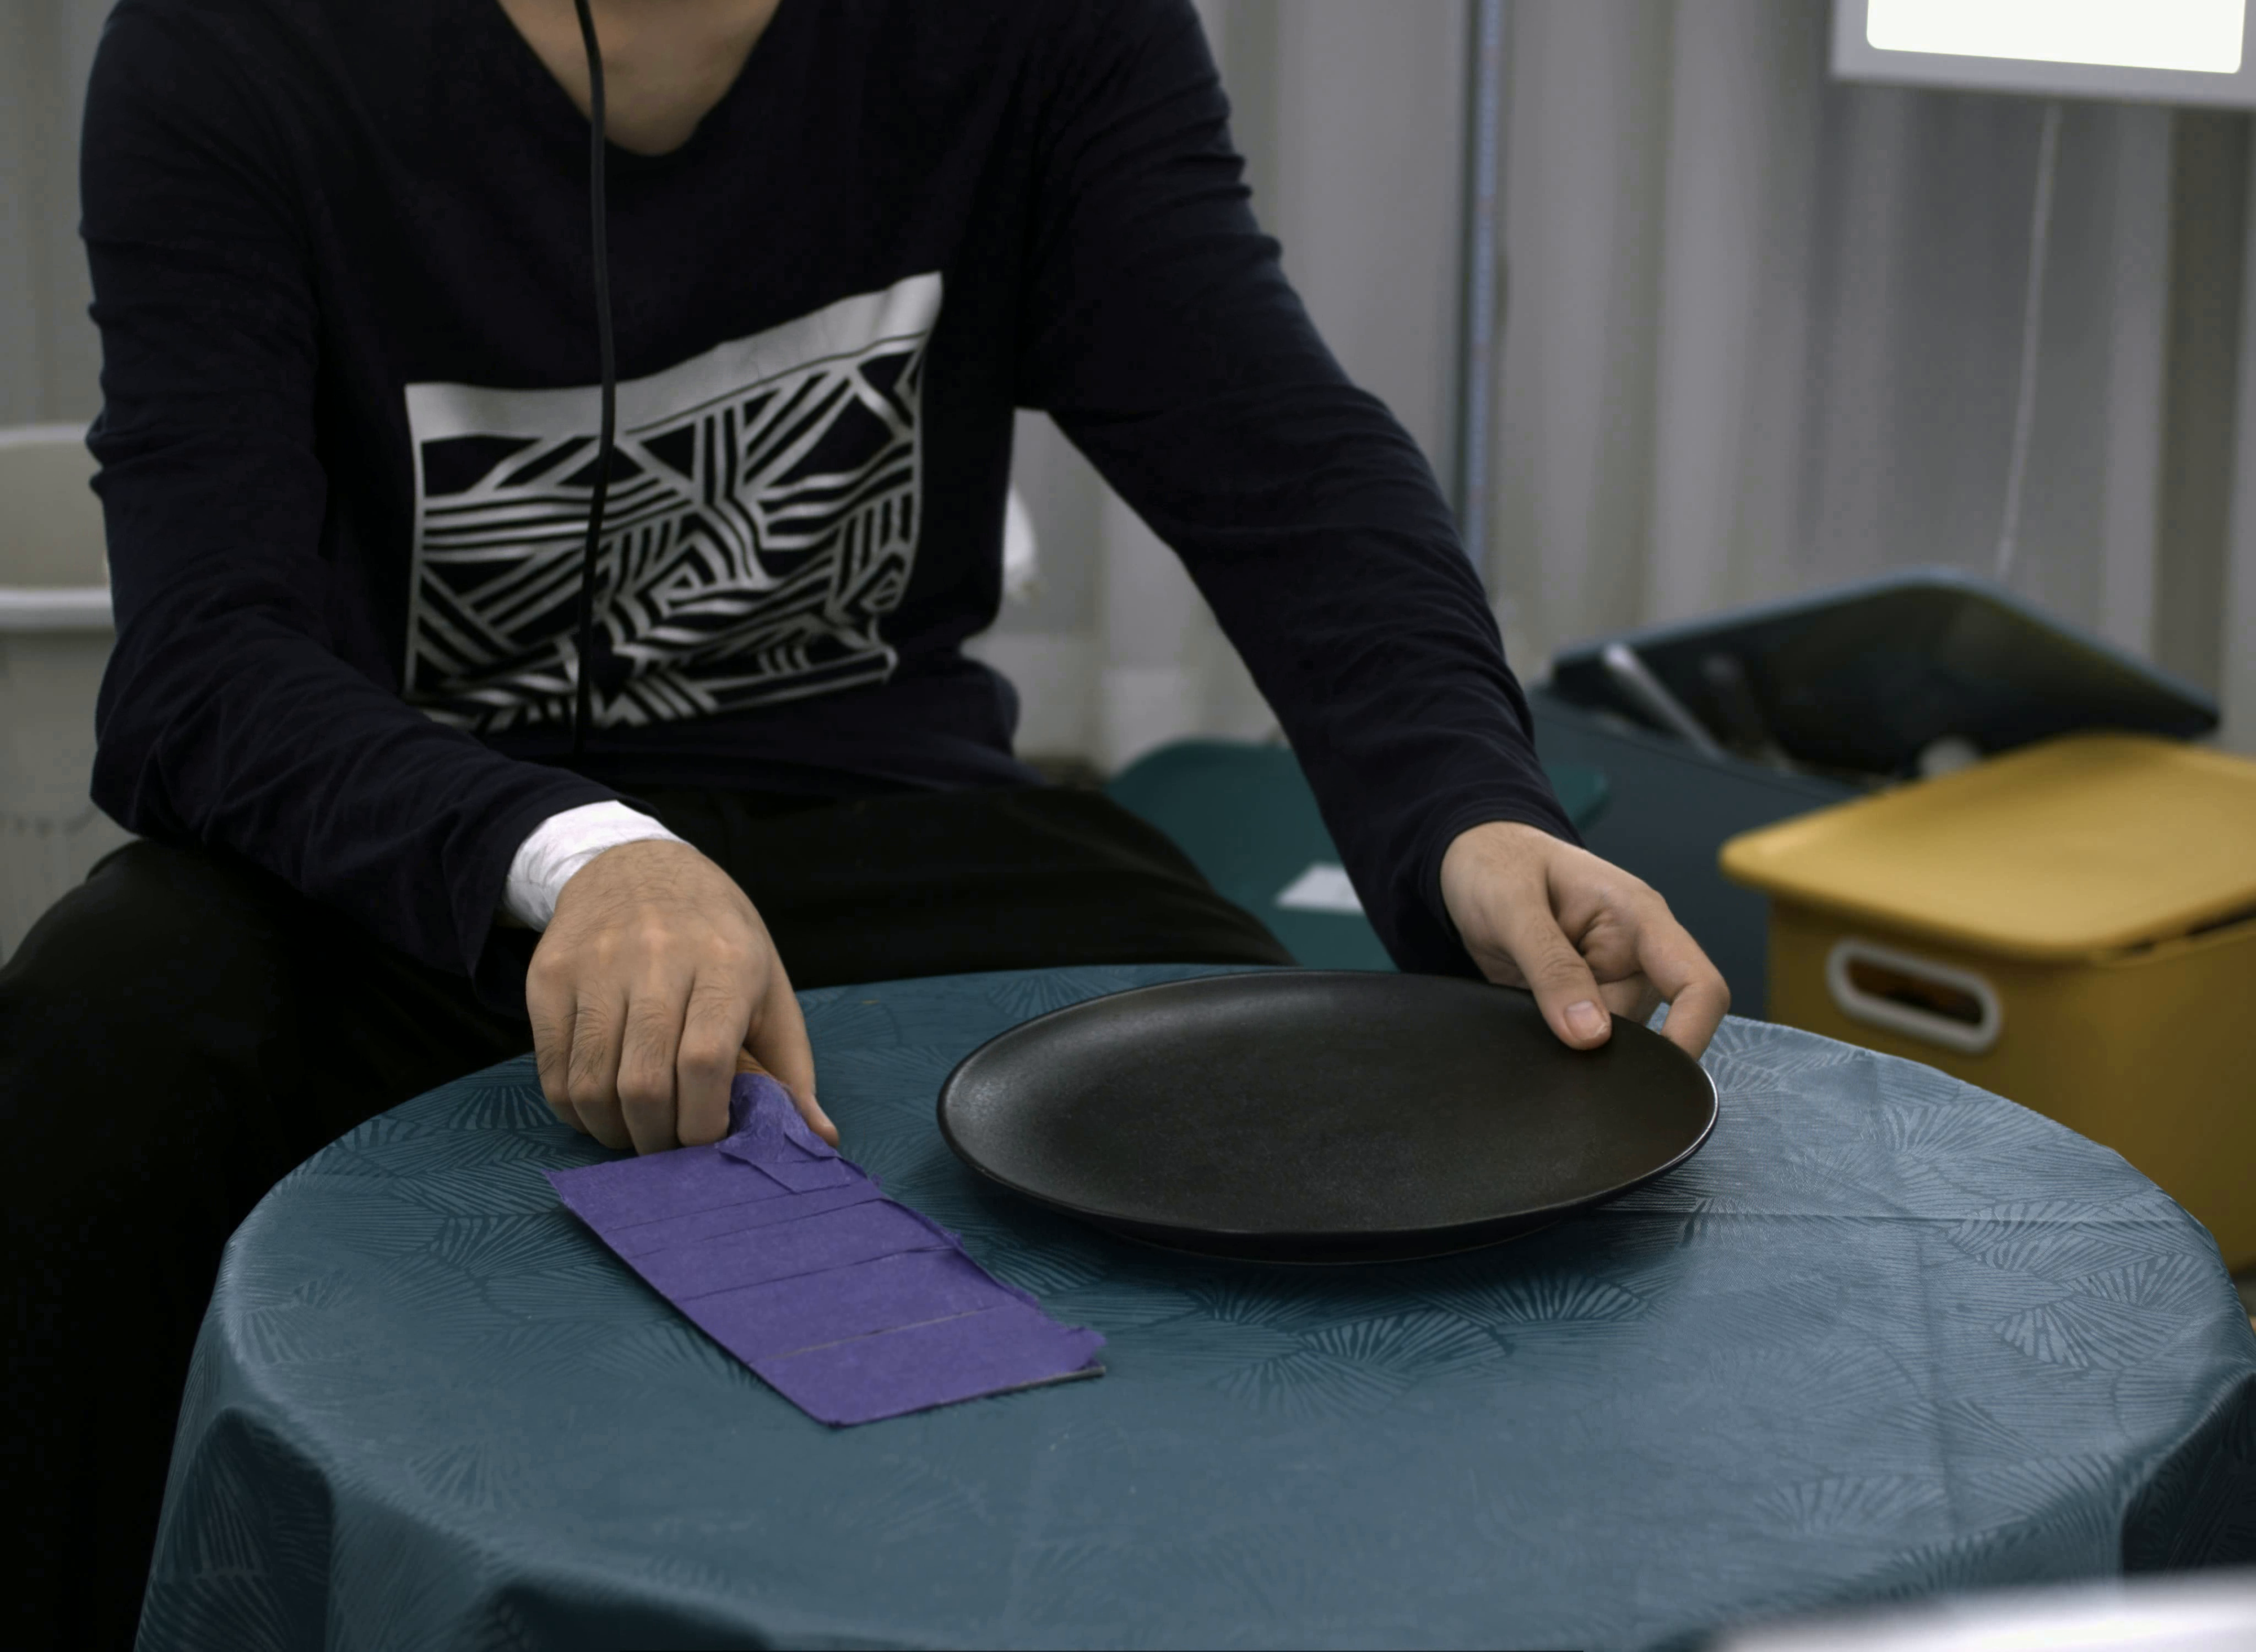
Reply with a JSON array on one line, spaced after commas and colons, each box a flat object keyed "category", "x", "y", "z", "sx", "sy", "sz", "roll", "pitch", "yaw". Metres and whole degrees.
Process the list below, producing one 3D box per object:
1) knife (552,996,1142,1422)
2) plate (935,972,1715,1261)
[{"category": "knife", "x": -0.114, "y": 0.111, "z": 1.577, "sx": 0.104, "sy": 0.032, "sz": 0.311, "roll": -8, "pitch": 18, "yaw": -28}, {"category": "plate", "x": 0.061, "y": 0.093, "z": 1.643, "sx": 0.243, "sy": 0.023, "sz": 0.243, "roll": -1, "pitch": 17, "yaw": 1}]
